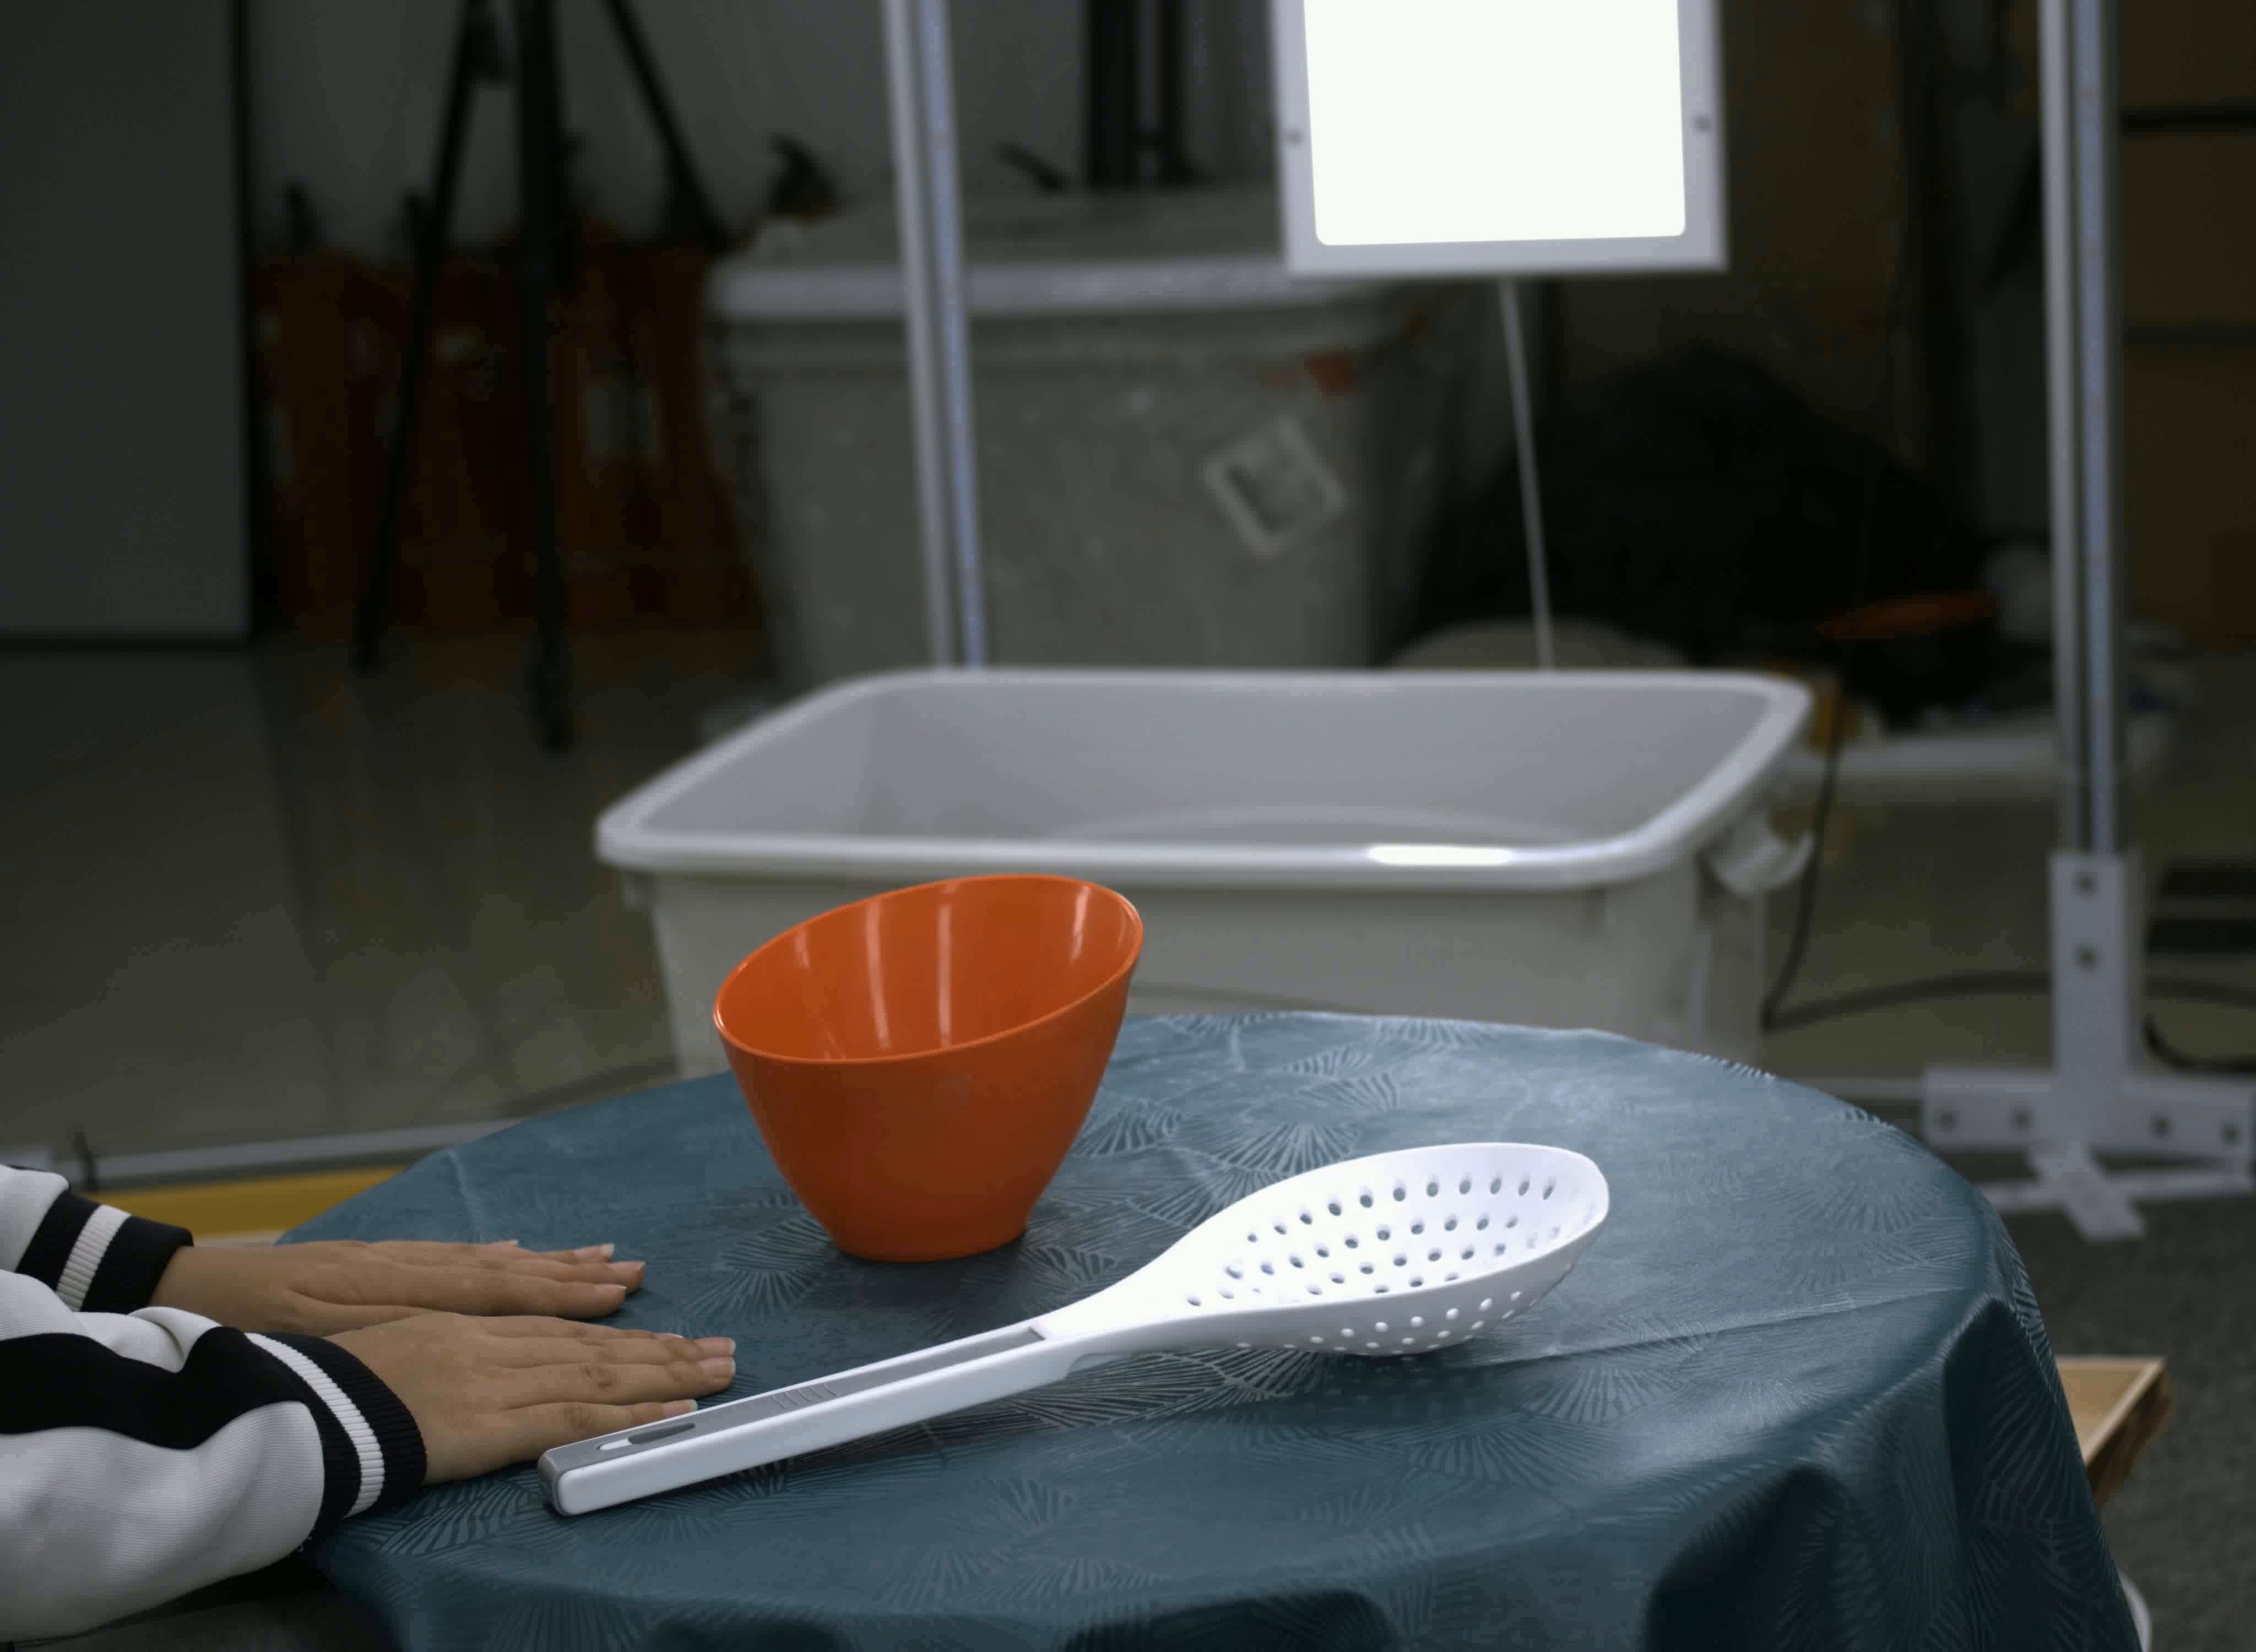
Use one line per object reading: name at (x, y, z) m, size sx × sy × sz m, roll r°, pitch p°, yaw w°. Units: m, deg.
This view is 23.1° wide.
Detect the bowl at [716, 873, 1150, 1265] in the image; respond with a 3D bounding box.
bowl at (-0.064, 0.086, 1.869) m, size 0.147 × 0.105 × 0.148 m, roll -3°, pitch 17°, yaw -1°

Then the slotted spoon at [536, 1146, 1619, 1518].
slotted spoon at (-0.012, 0.156, 1.688) m, size 0.344 × 0.046 × 0.137 m, roll -10°, pitch 13°, yaw -16°
